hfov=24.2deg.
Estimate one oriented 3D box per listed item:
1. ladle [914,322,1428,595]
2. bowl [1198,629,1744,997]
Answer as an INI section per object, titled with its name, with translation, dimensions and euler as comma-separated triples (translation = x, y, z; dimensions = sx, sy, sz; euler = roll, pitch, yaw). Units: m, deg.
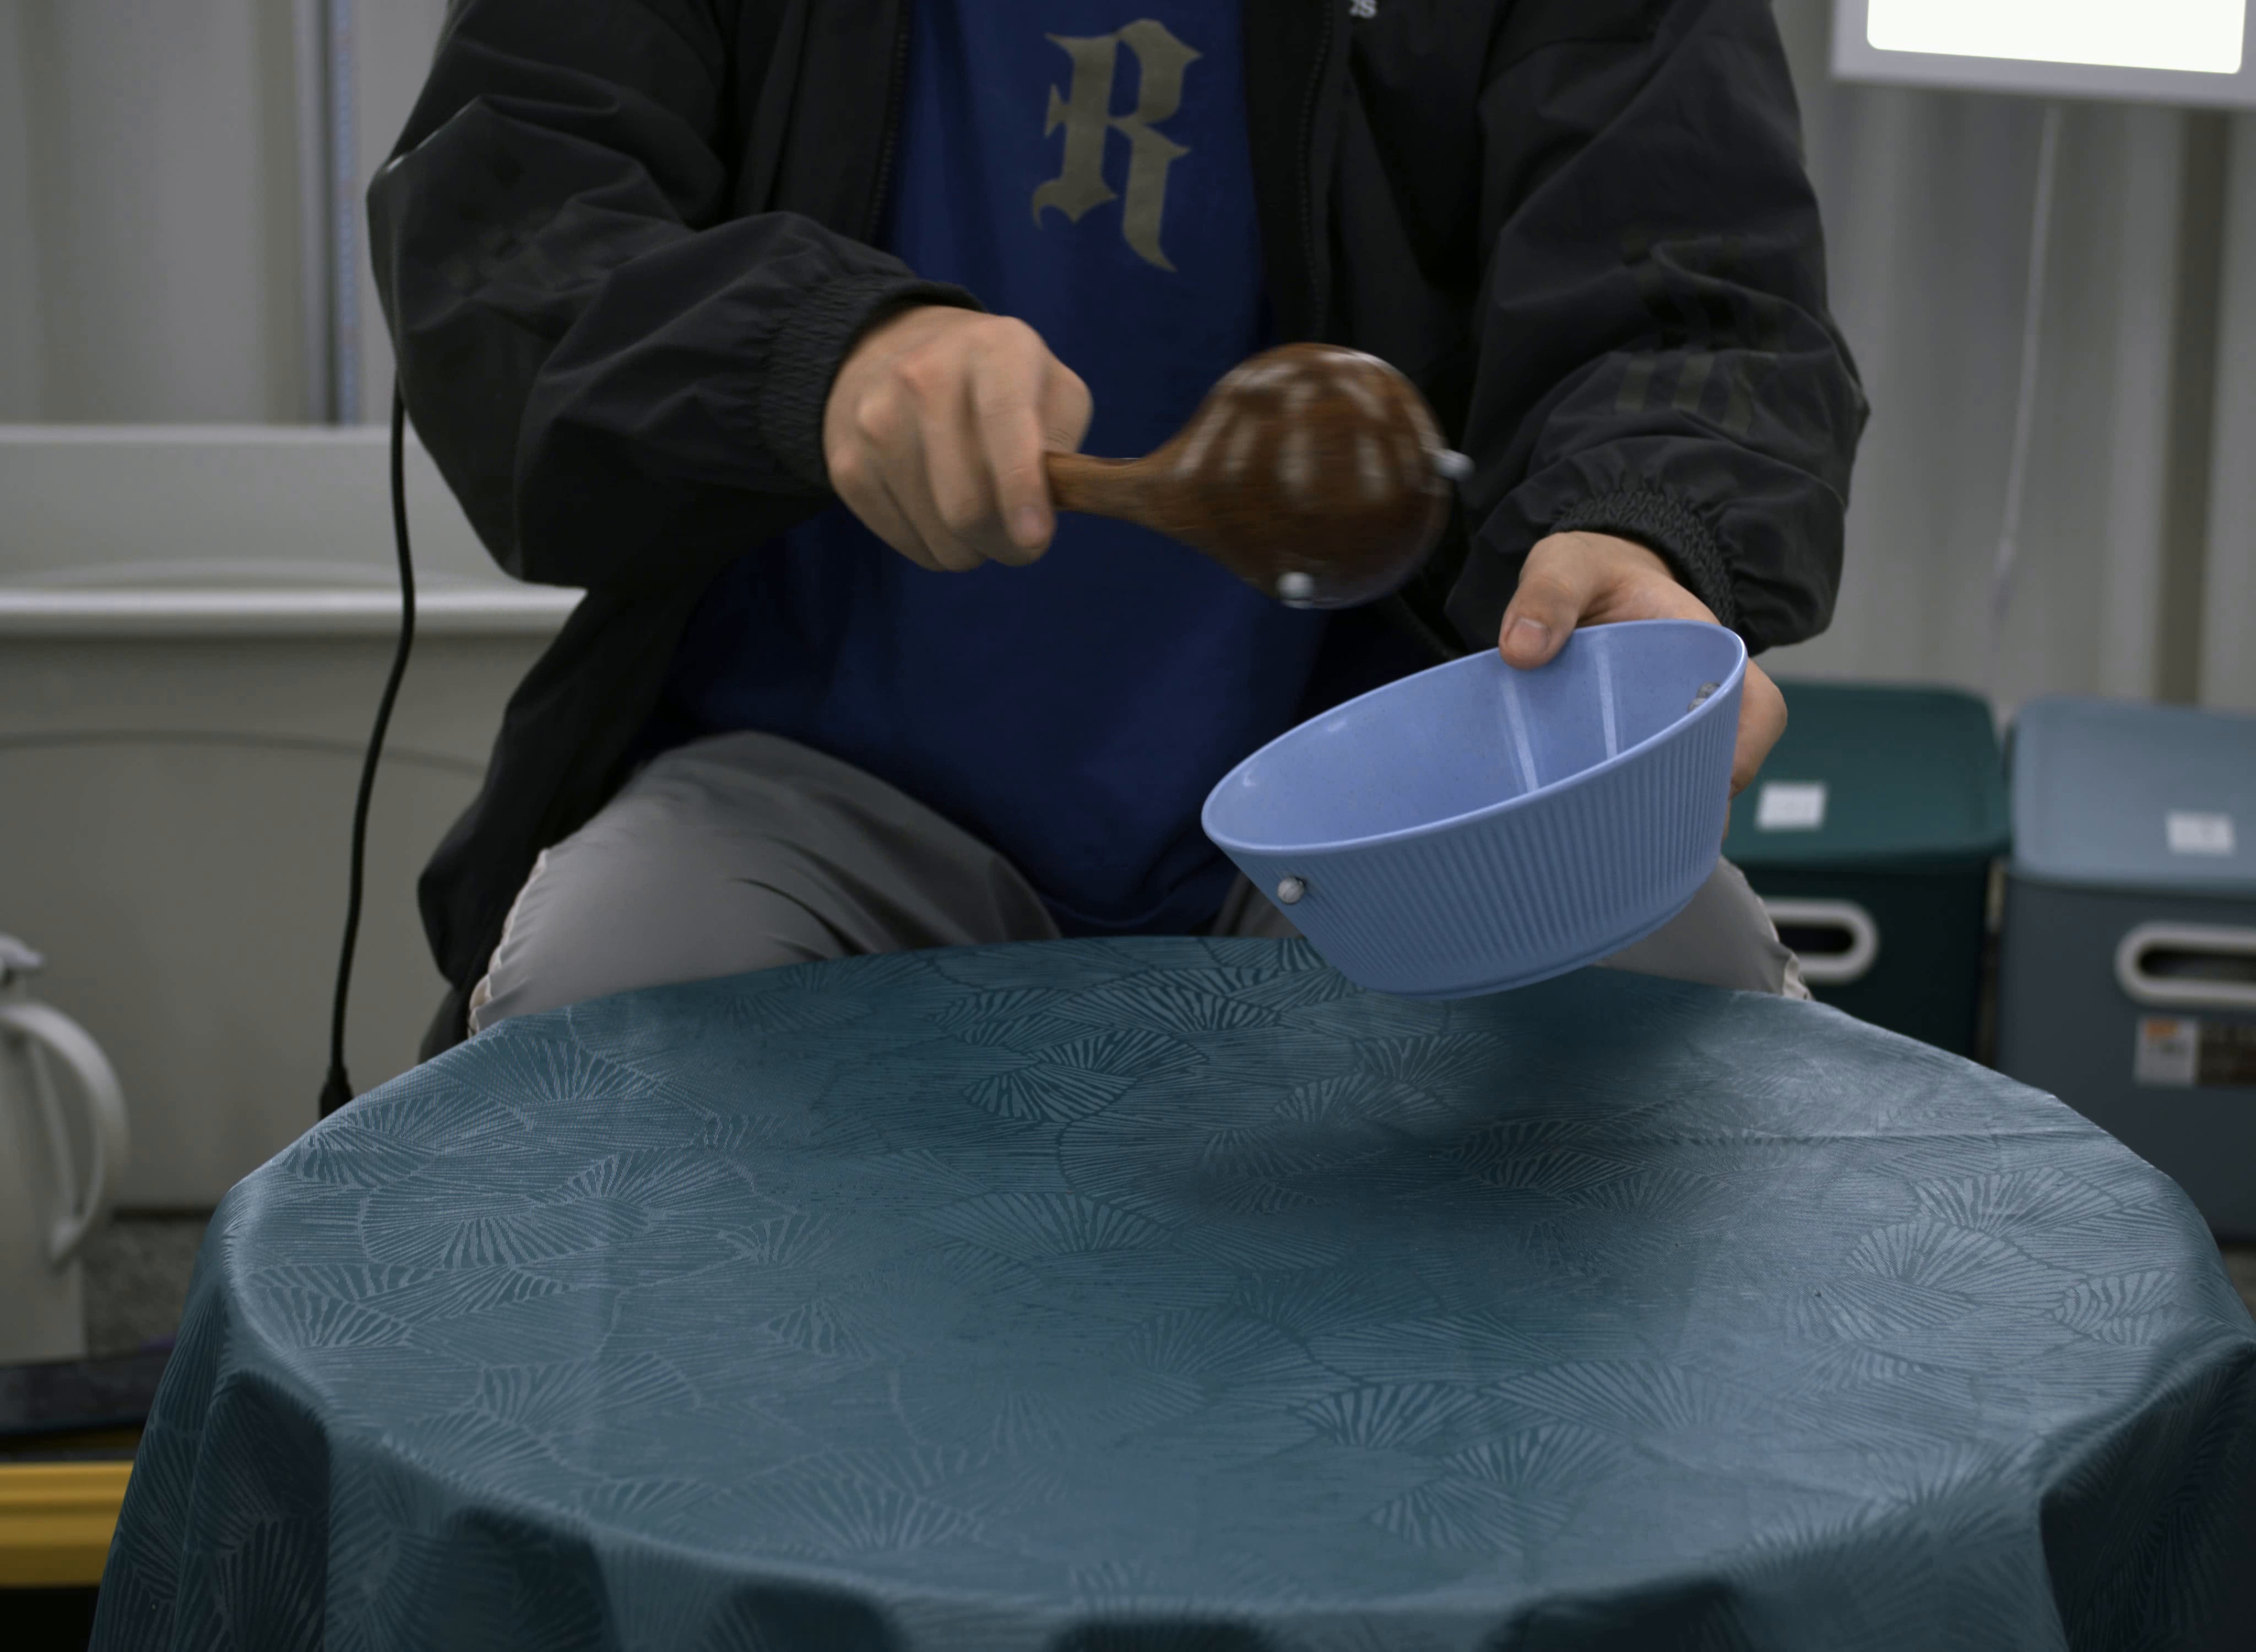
[ladle]
translation = 0.010, -0.115, 1.675
dimensions = 0.077, 0.082, 0.272
euler = -8, 6, -21
[bowl]
translation = 0.114, 0.000, 1.629
dimensions = 0.175, 0.071, 0.175
euler = -18, 14, 5
